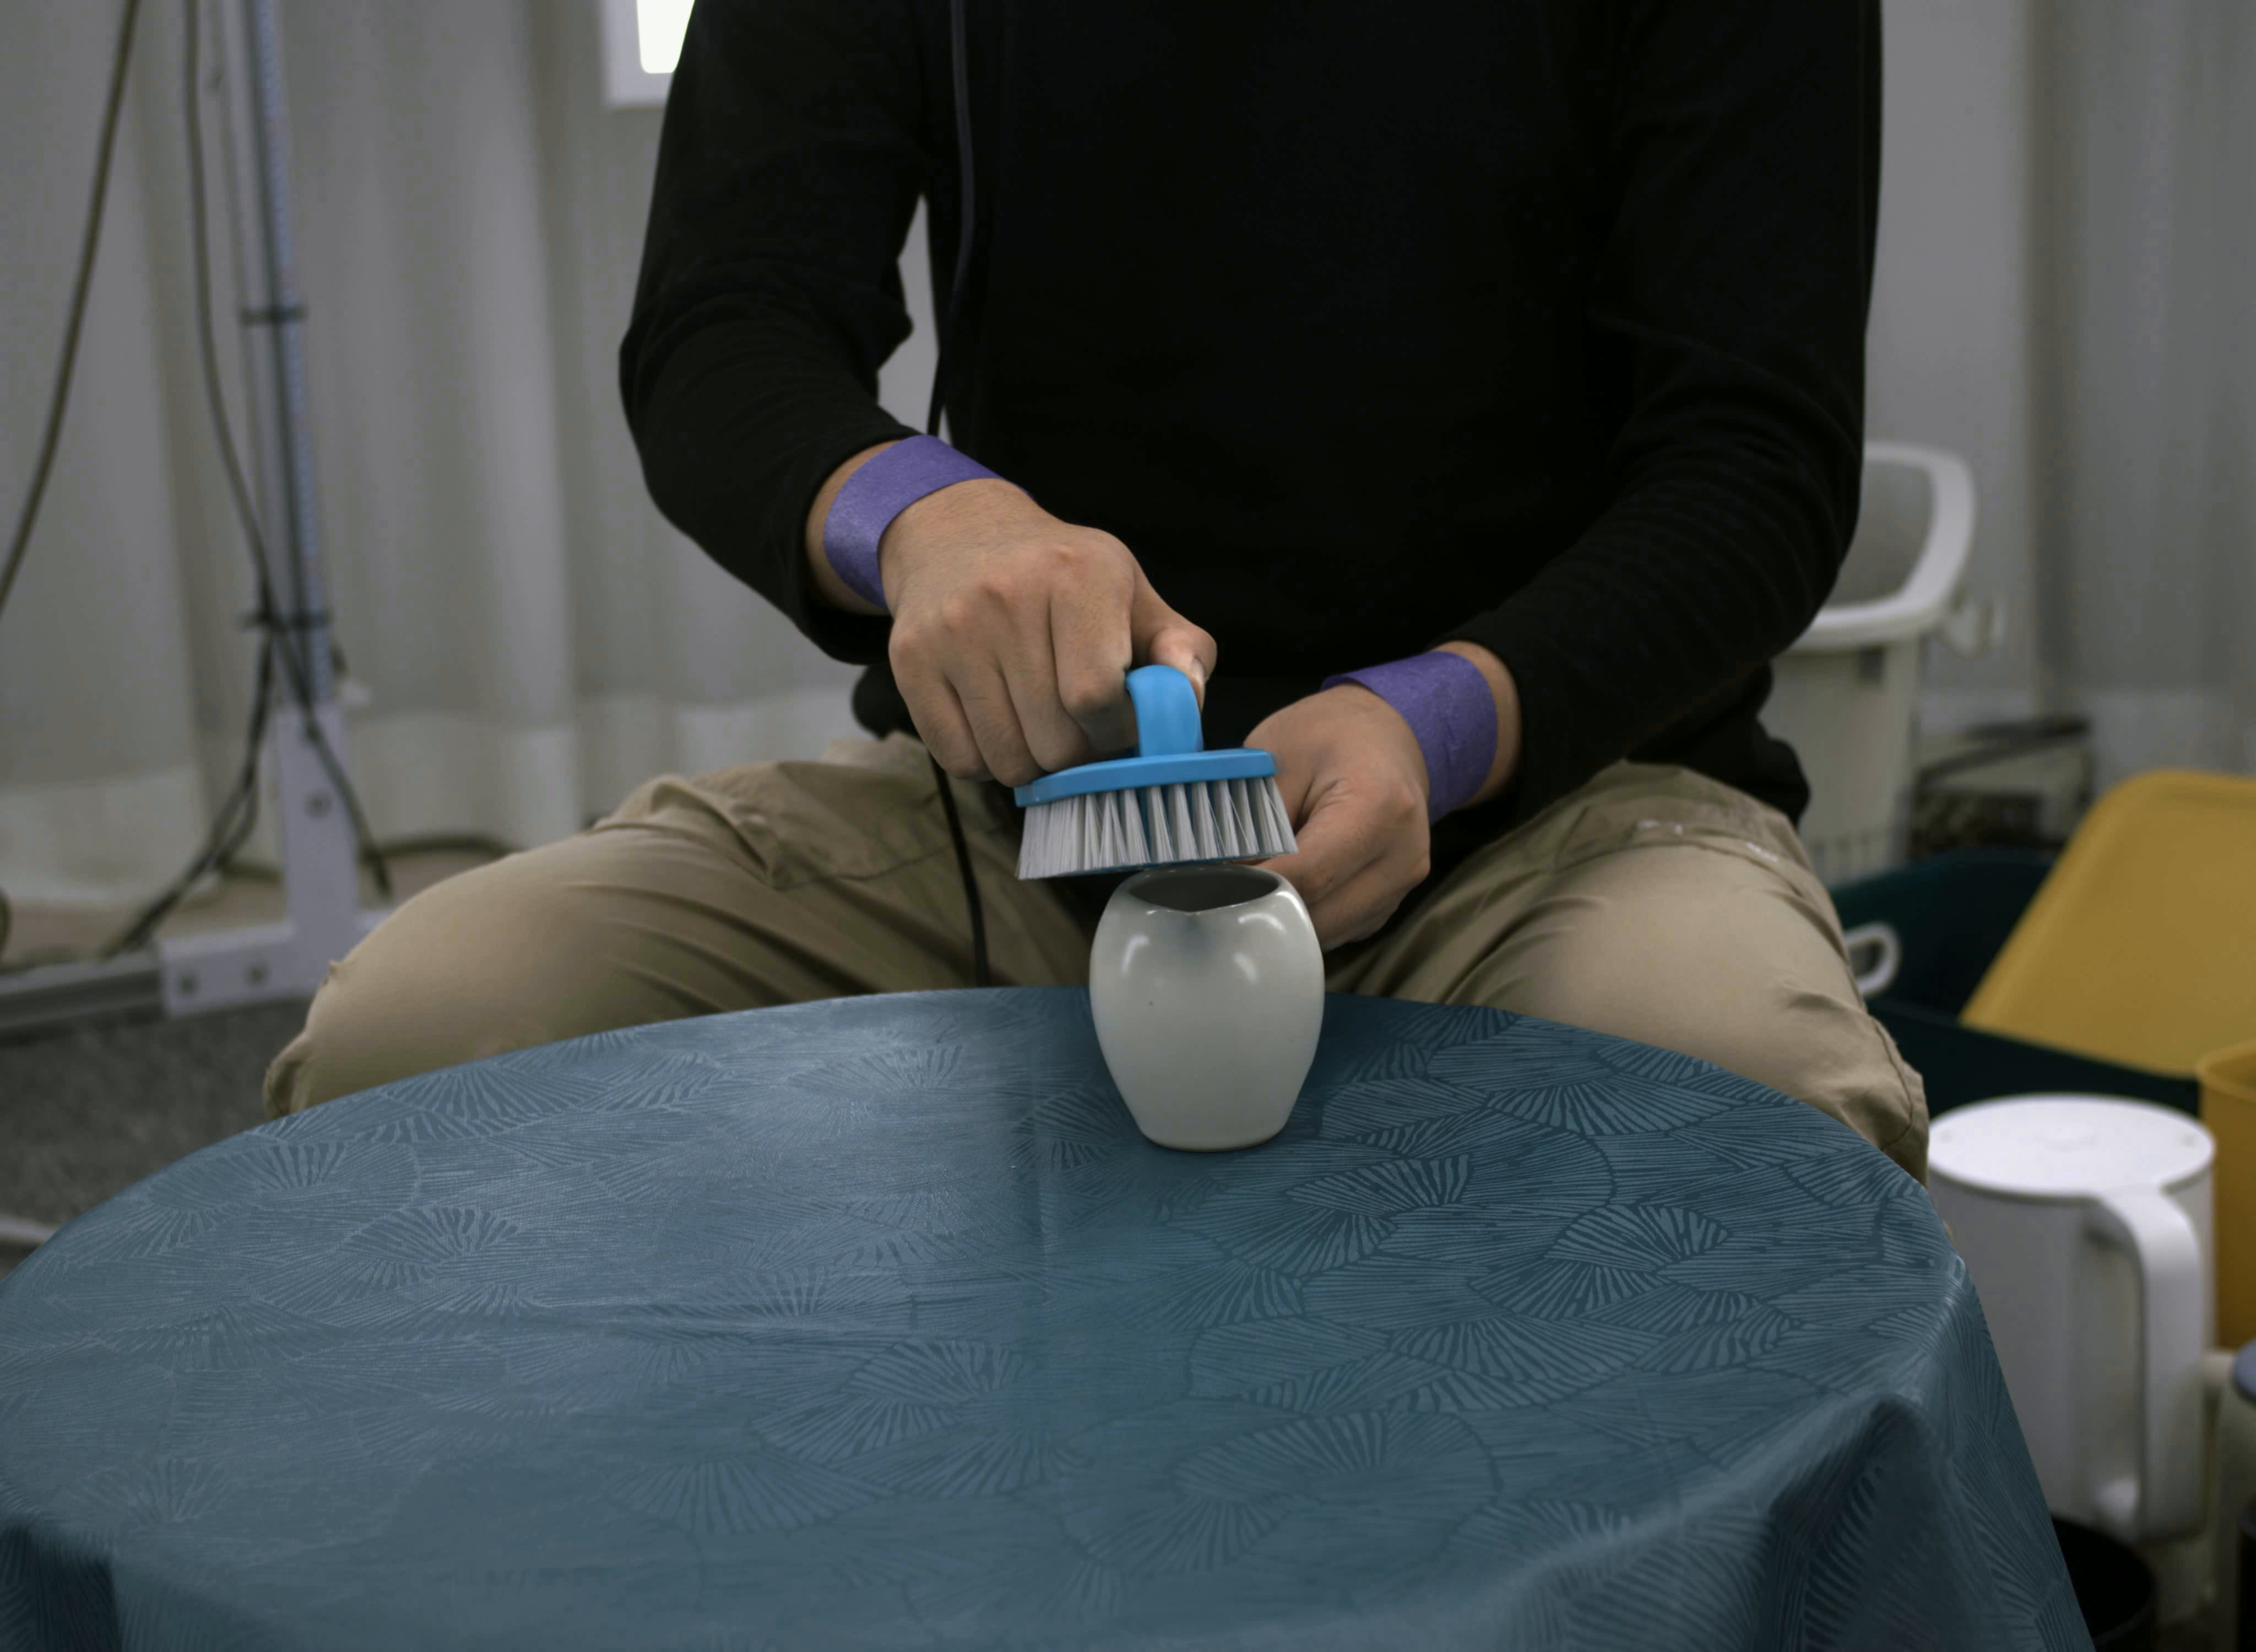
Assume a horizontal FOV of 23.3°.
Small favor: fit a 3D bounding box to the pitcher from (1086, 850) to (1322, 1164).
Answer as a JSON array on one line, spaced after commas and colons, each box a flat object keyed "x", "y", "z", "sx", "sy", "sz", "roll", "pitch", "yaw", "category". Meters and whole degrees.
[{"x": 0.025, "y": 0.057, "z": 1.758, "sx": 0.076, "sy": 0.087, "sz": 0.120, "roll": 5, "pitch": 19, "yaw": 8, "category": "pitcher"}]

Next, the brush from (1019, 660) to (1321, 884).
[{"x": 0.009, "y": -0.019, "z": 1.747, "sx": 0.084, "sy": 0.064, "sz": 0.142, "roll": -10, "pitch": -2, "yaw": -10, "category": "brush"}]
